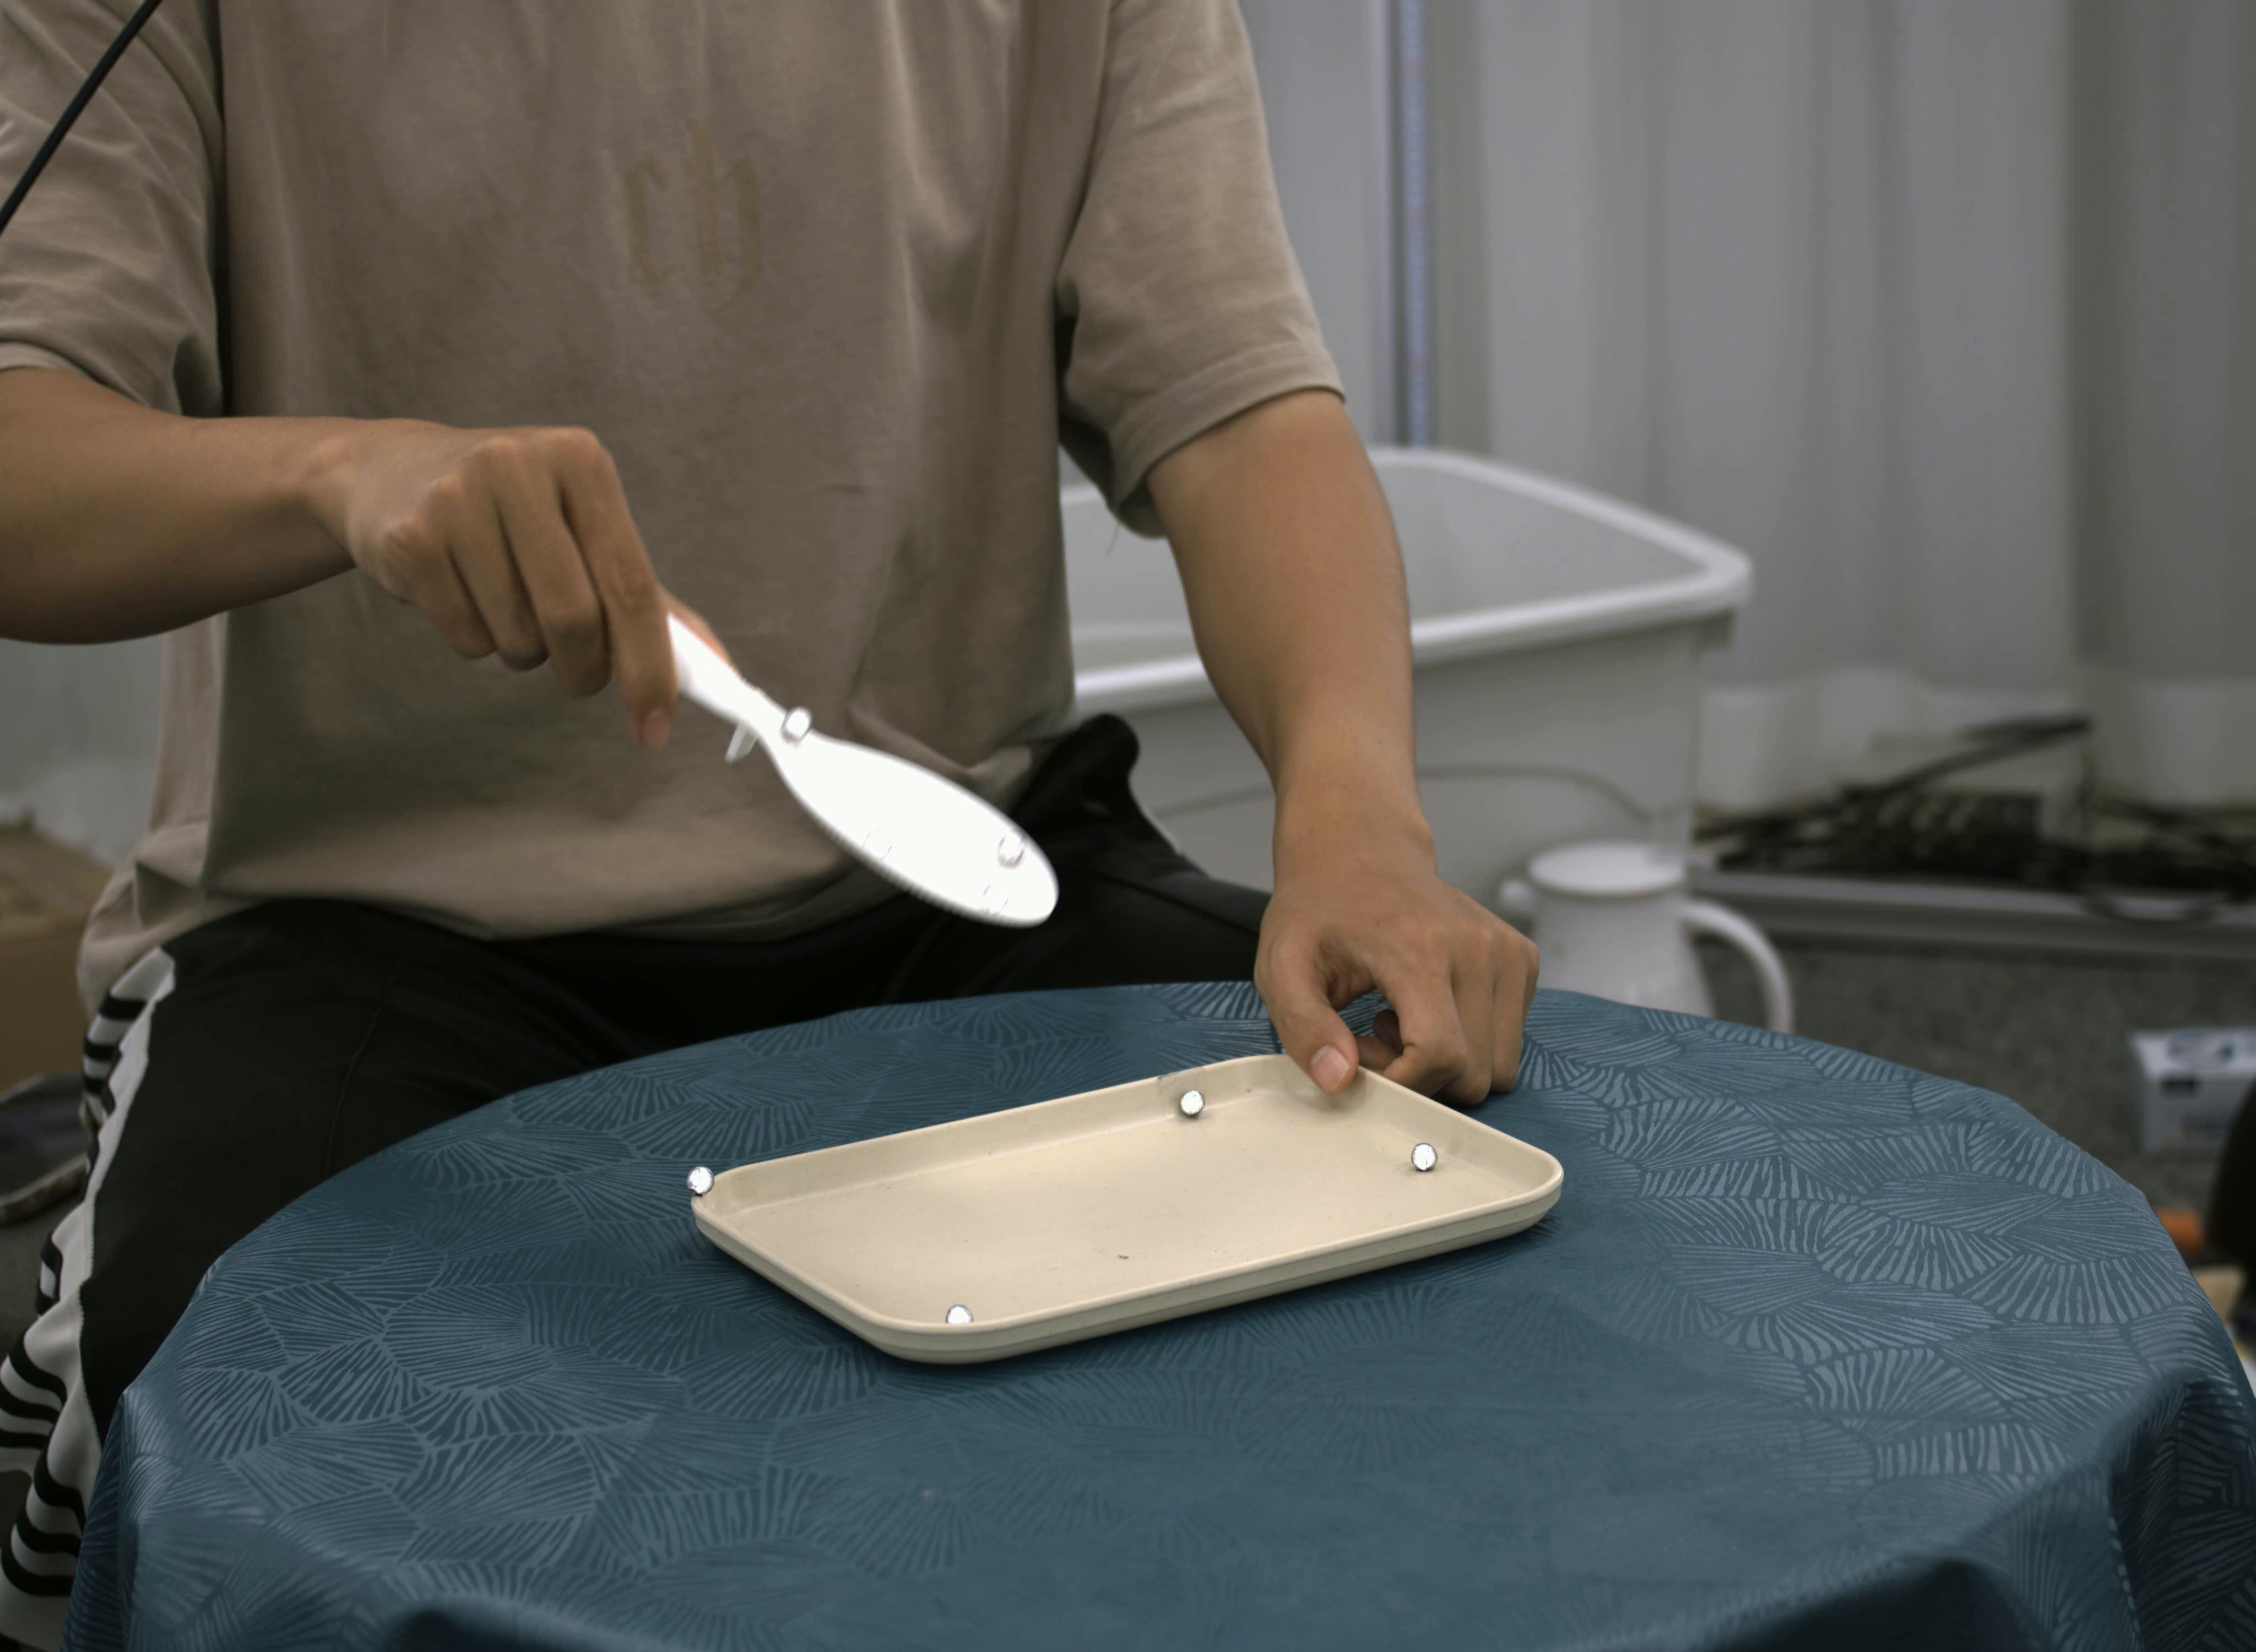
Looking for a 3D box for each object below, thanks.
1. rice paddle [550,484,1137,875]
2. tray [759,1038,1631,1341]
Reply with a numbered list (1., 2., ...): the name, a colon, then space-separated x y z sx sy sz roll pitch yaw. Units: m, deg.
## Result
1. rice paddle: -0.083 -0.041 1.649 0.206 0.029 0.069 31 25 15
2. tray: 0.020 0.111 1.675 0.238 0.017 0.172 -10 17 -28
